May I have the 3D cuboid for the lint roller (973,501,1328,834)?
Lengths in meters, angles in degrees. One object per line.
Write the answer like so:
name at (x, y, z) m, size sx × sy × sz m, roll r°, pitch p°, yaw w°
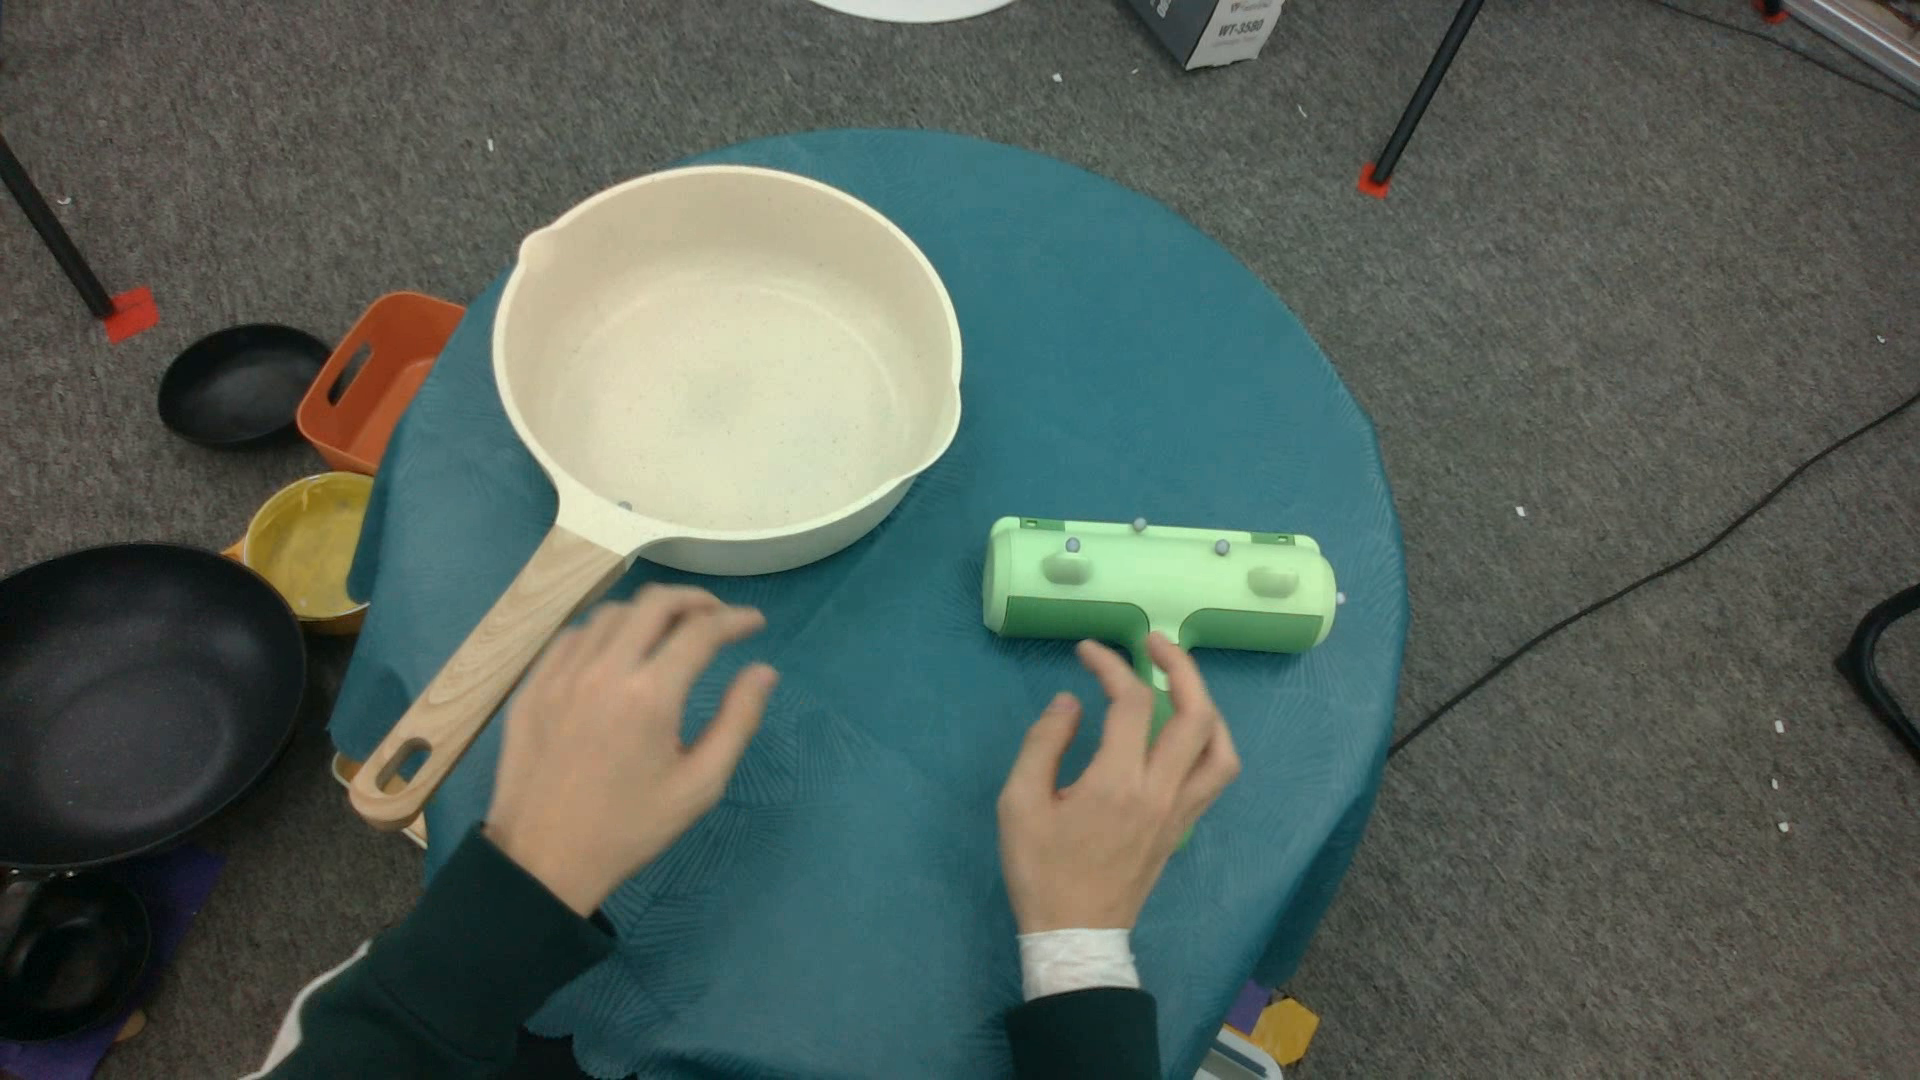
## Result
lint roller at (0.110, 0.059, 0.743) m, size 0.199 × 0.082 × 0.184 m, roll 3°, pitch 56°, yaw -7°

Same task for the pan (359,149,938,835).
pan at (-0.177, -0.030, 0.736) m, size 0.263 × 0.101 × 0.437 m, roll 24°, pitch 61°, yaw 3°
